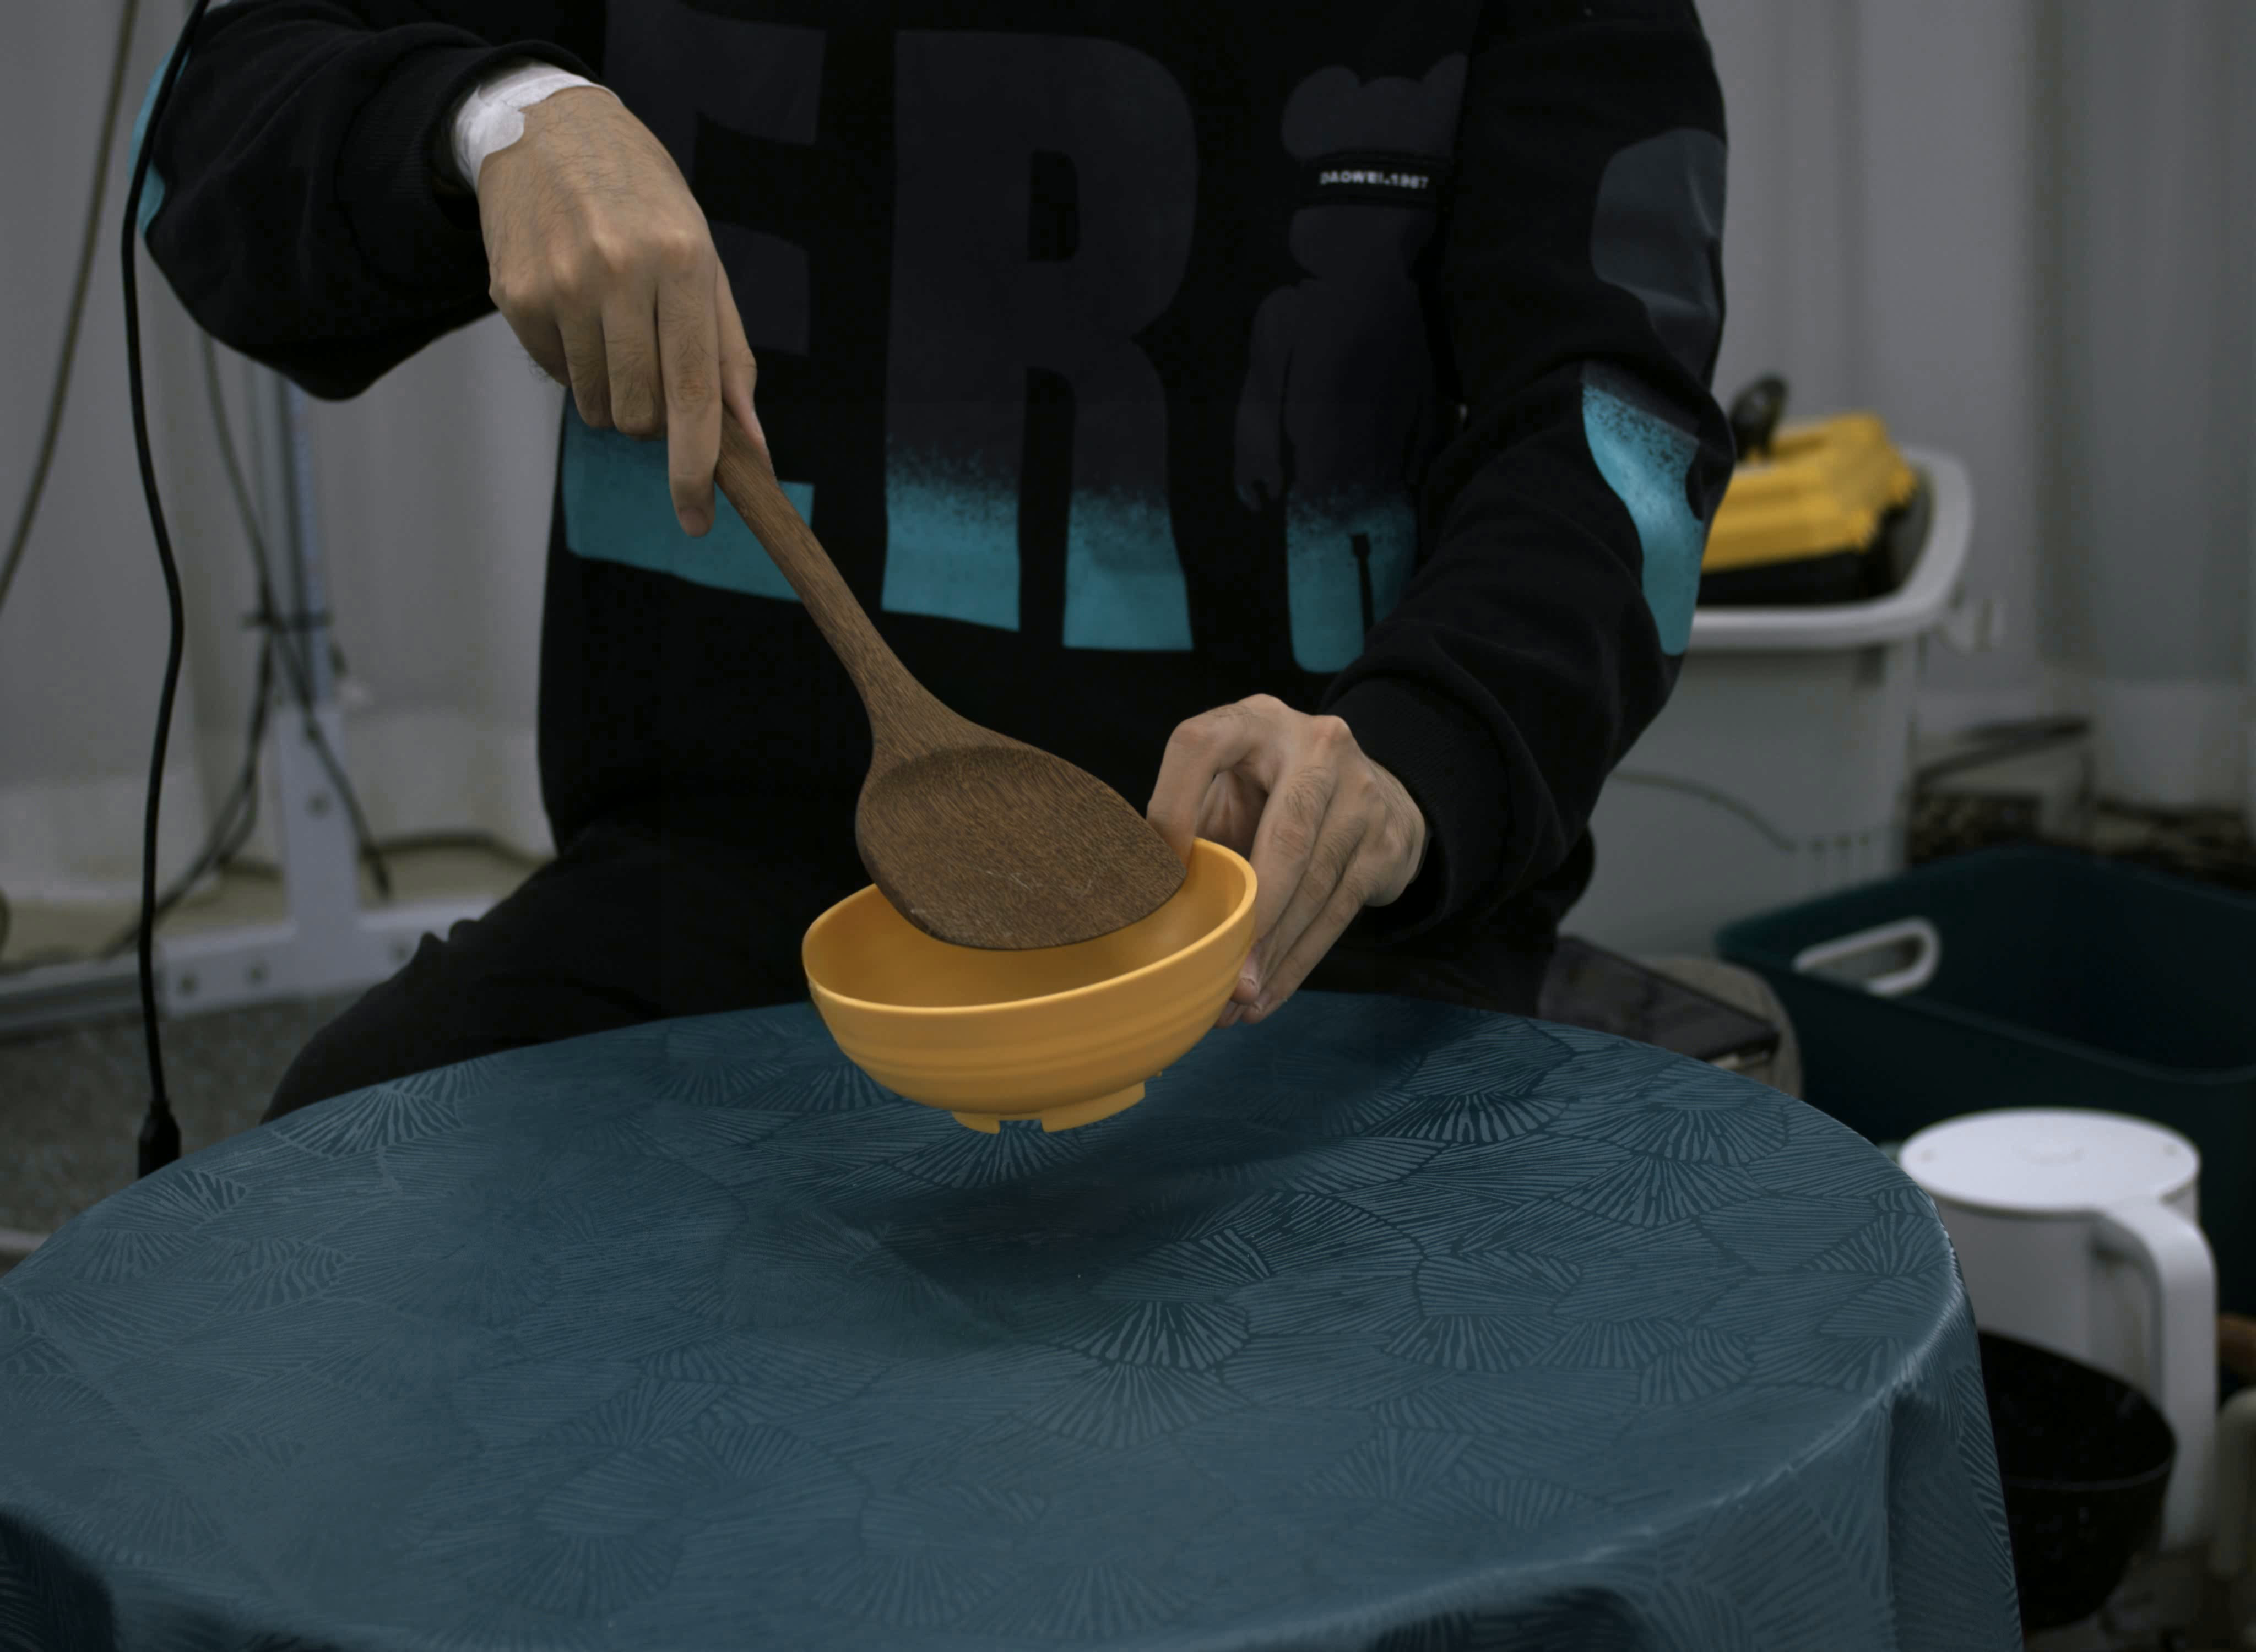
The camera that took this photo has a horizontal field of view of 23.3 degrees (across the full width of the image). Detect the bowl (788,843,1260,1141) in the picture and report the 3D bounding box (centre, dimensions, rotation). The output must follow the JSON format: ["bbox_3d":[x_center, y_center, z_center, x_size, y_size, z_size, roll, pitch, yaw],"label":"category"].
[{"bbox_3d":[-0.029,0.057,1.673,0.145,0.060,0.146,-7,18,2],"label":"bowl"}]

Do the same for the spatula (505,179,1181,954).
[{"bbox_3d":[-0.111,-0.093,1.764,0.096,0.015,0.391,-13,50,-30],"label":"spatula"}]
